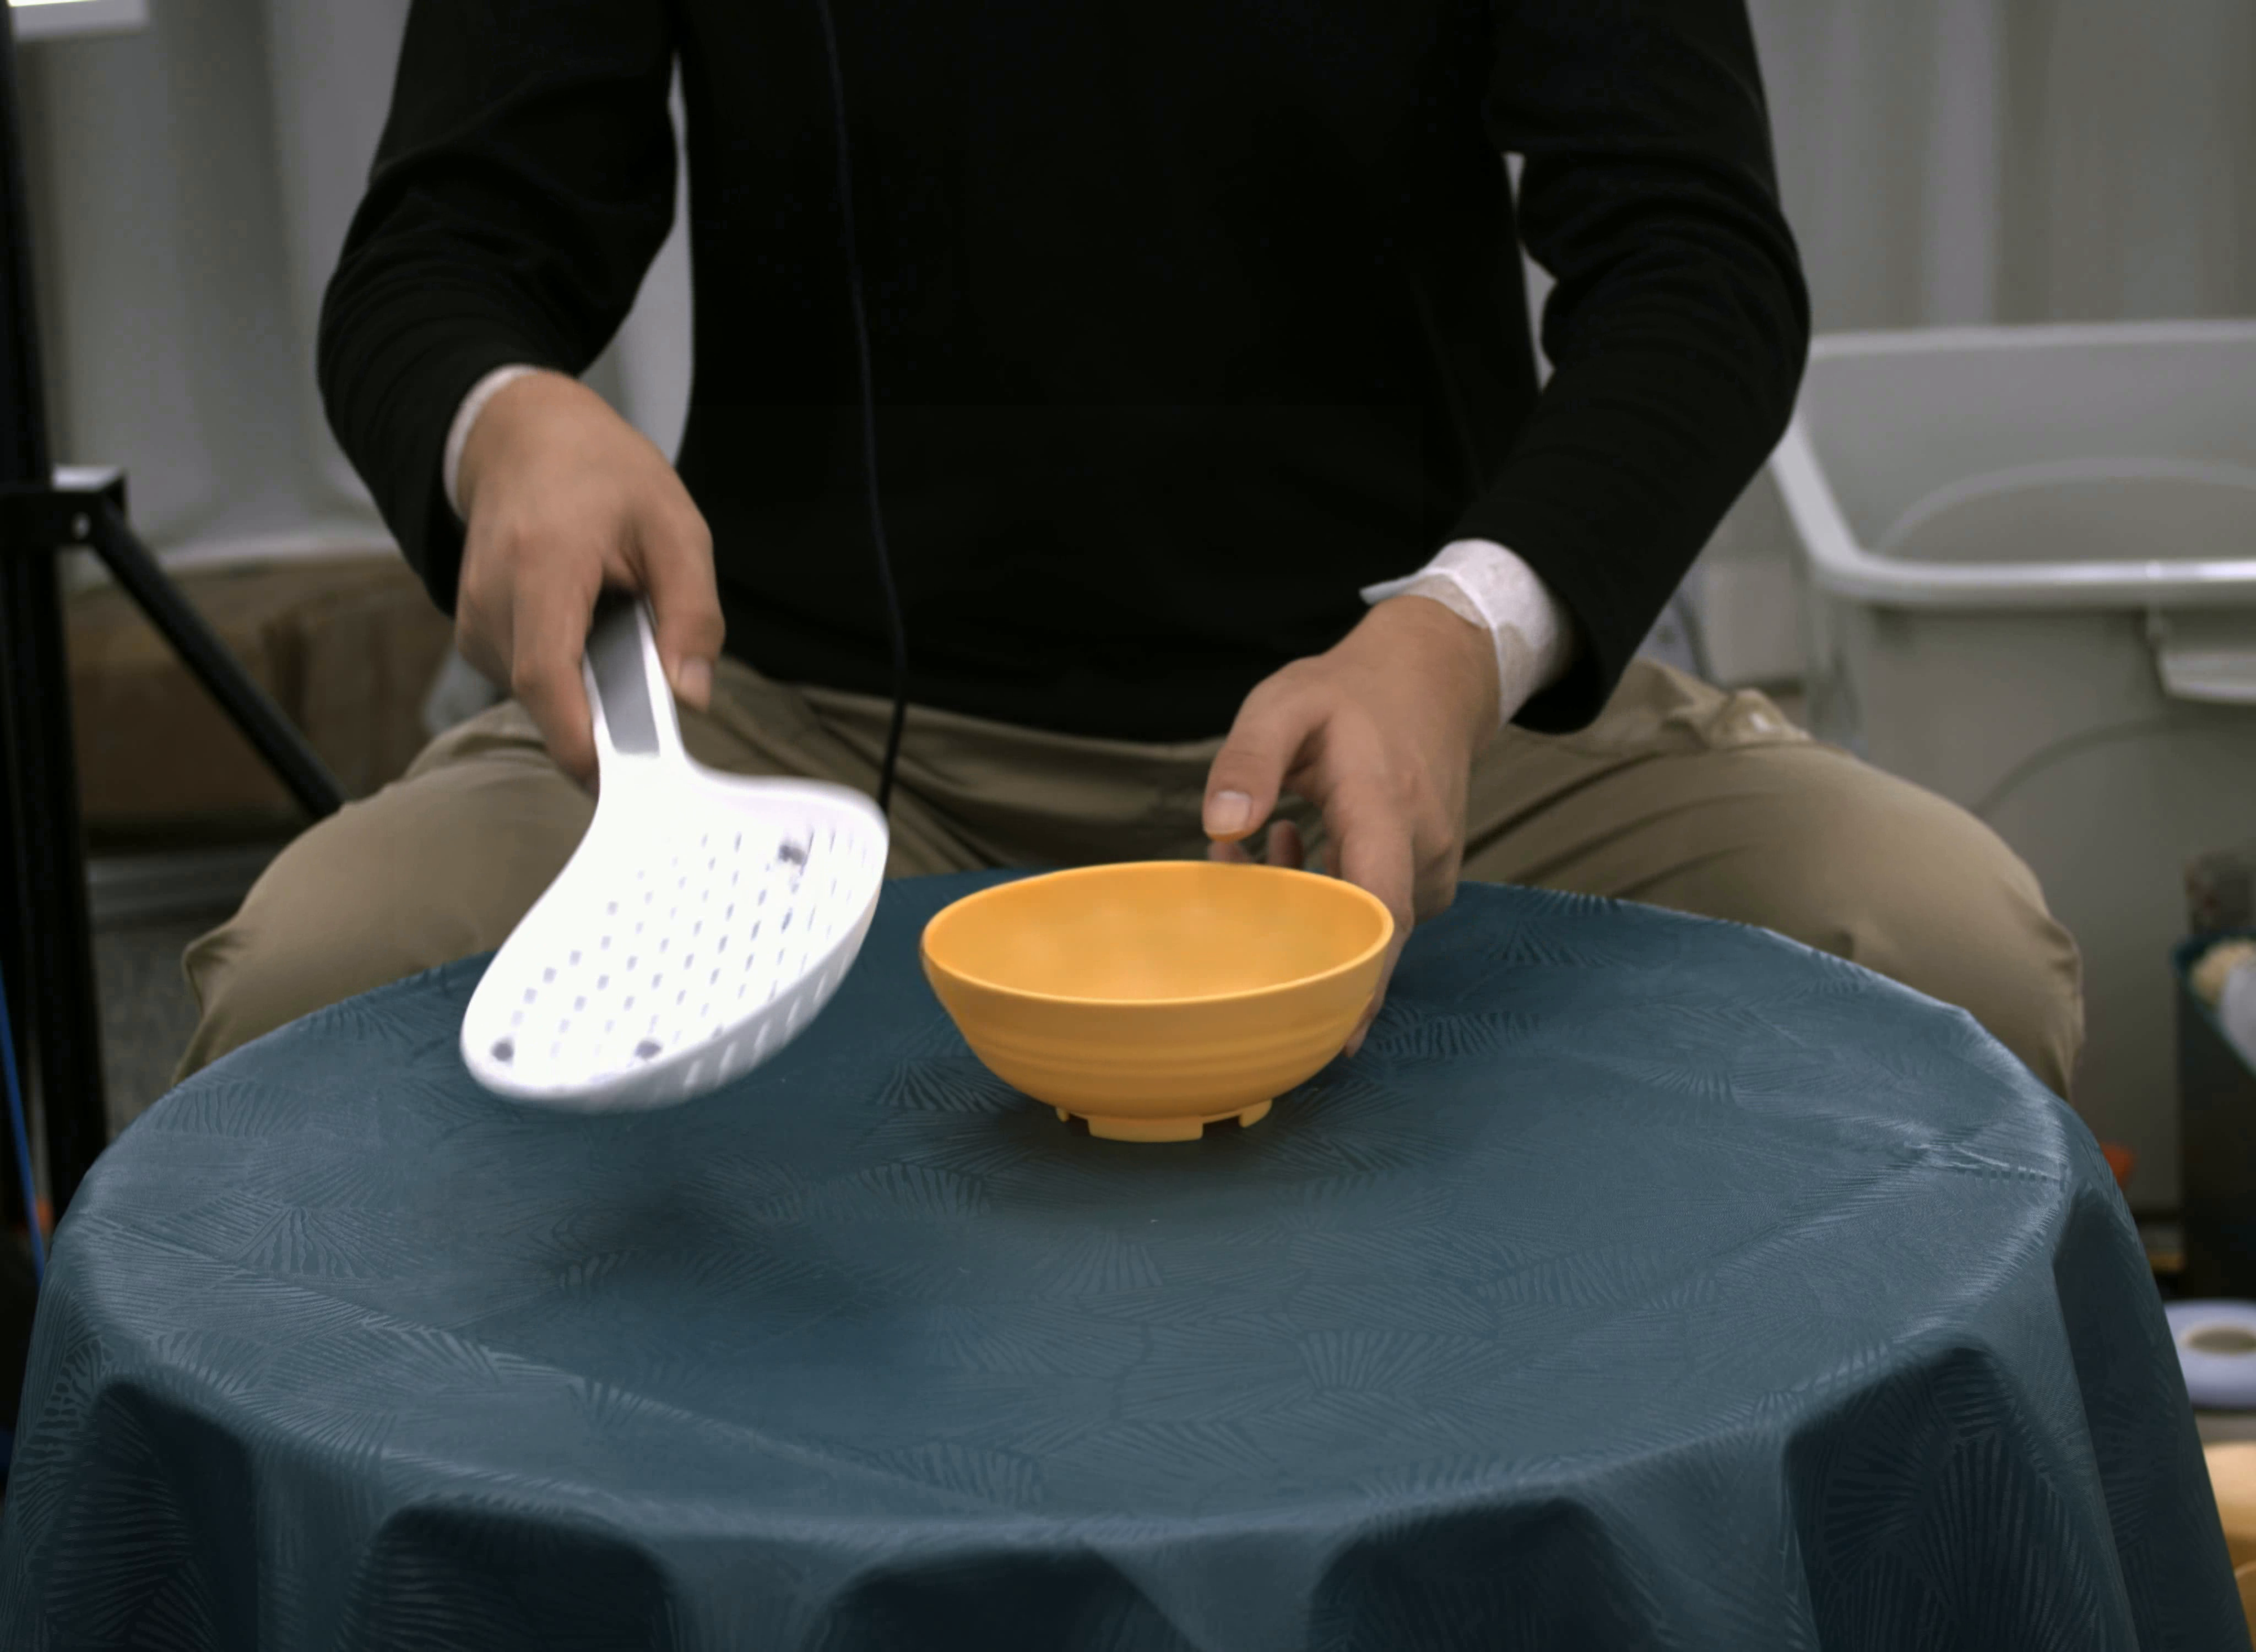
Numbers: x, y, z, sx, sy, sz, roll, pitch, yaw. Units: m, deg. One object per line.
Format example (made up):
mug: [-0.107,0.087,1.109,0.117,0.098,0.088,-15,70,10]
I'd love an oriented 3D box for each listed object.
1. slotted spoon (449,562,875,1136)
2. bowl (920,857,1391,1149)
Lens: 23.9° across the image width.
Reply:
slotted spoon: [-0.146,-0.002,1.620,0.136,0.045,0.355,-27,31,4]
bowl: [0.009,0.060,1.624,0.144,0.060,0.146,-2,17,-1]
